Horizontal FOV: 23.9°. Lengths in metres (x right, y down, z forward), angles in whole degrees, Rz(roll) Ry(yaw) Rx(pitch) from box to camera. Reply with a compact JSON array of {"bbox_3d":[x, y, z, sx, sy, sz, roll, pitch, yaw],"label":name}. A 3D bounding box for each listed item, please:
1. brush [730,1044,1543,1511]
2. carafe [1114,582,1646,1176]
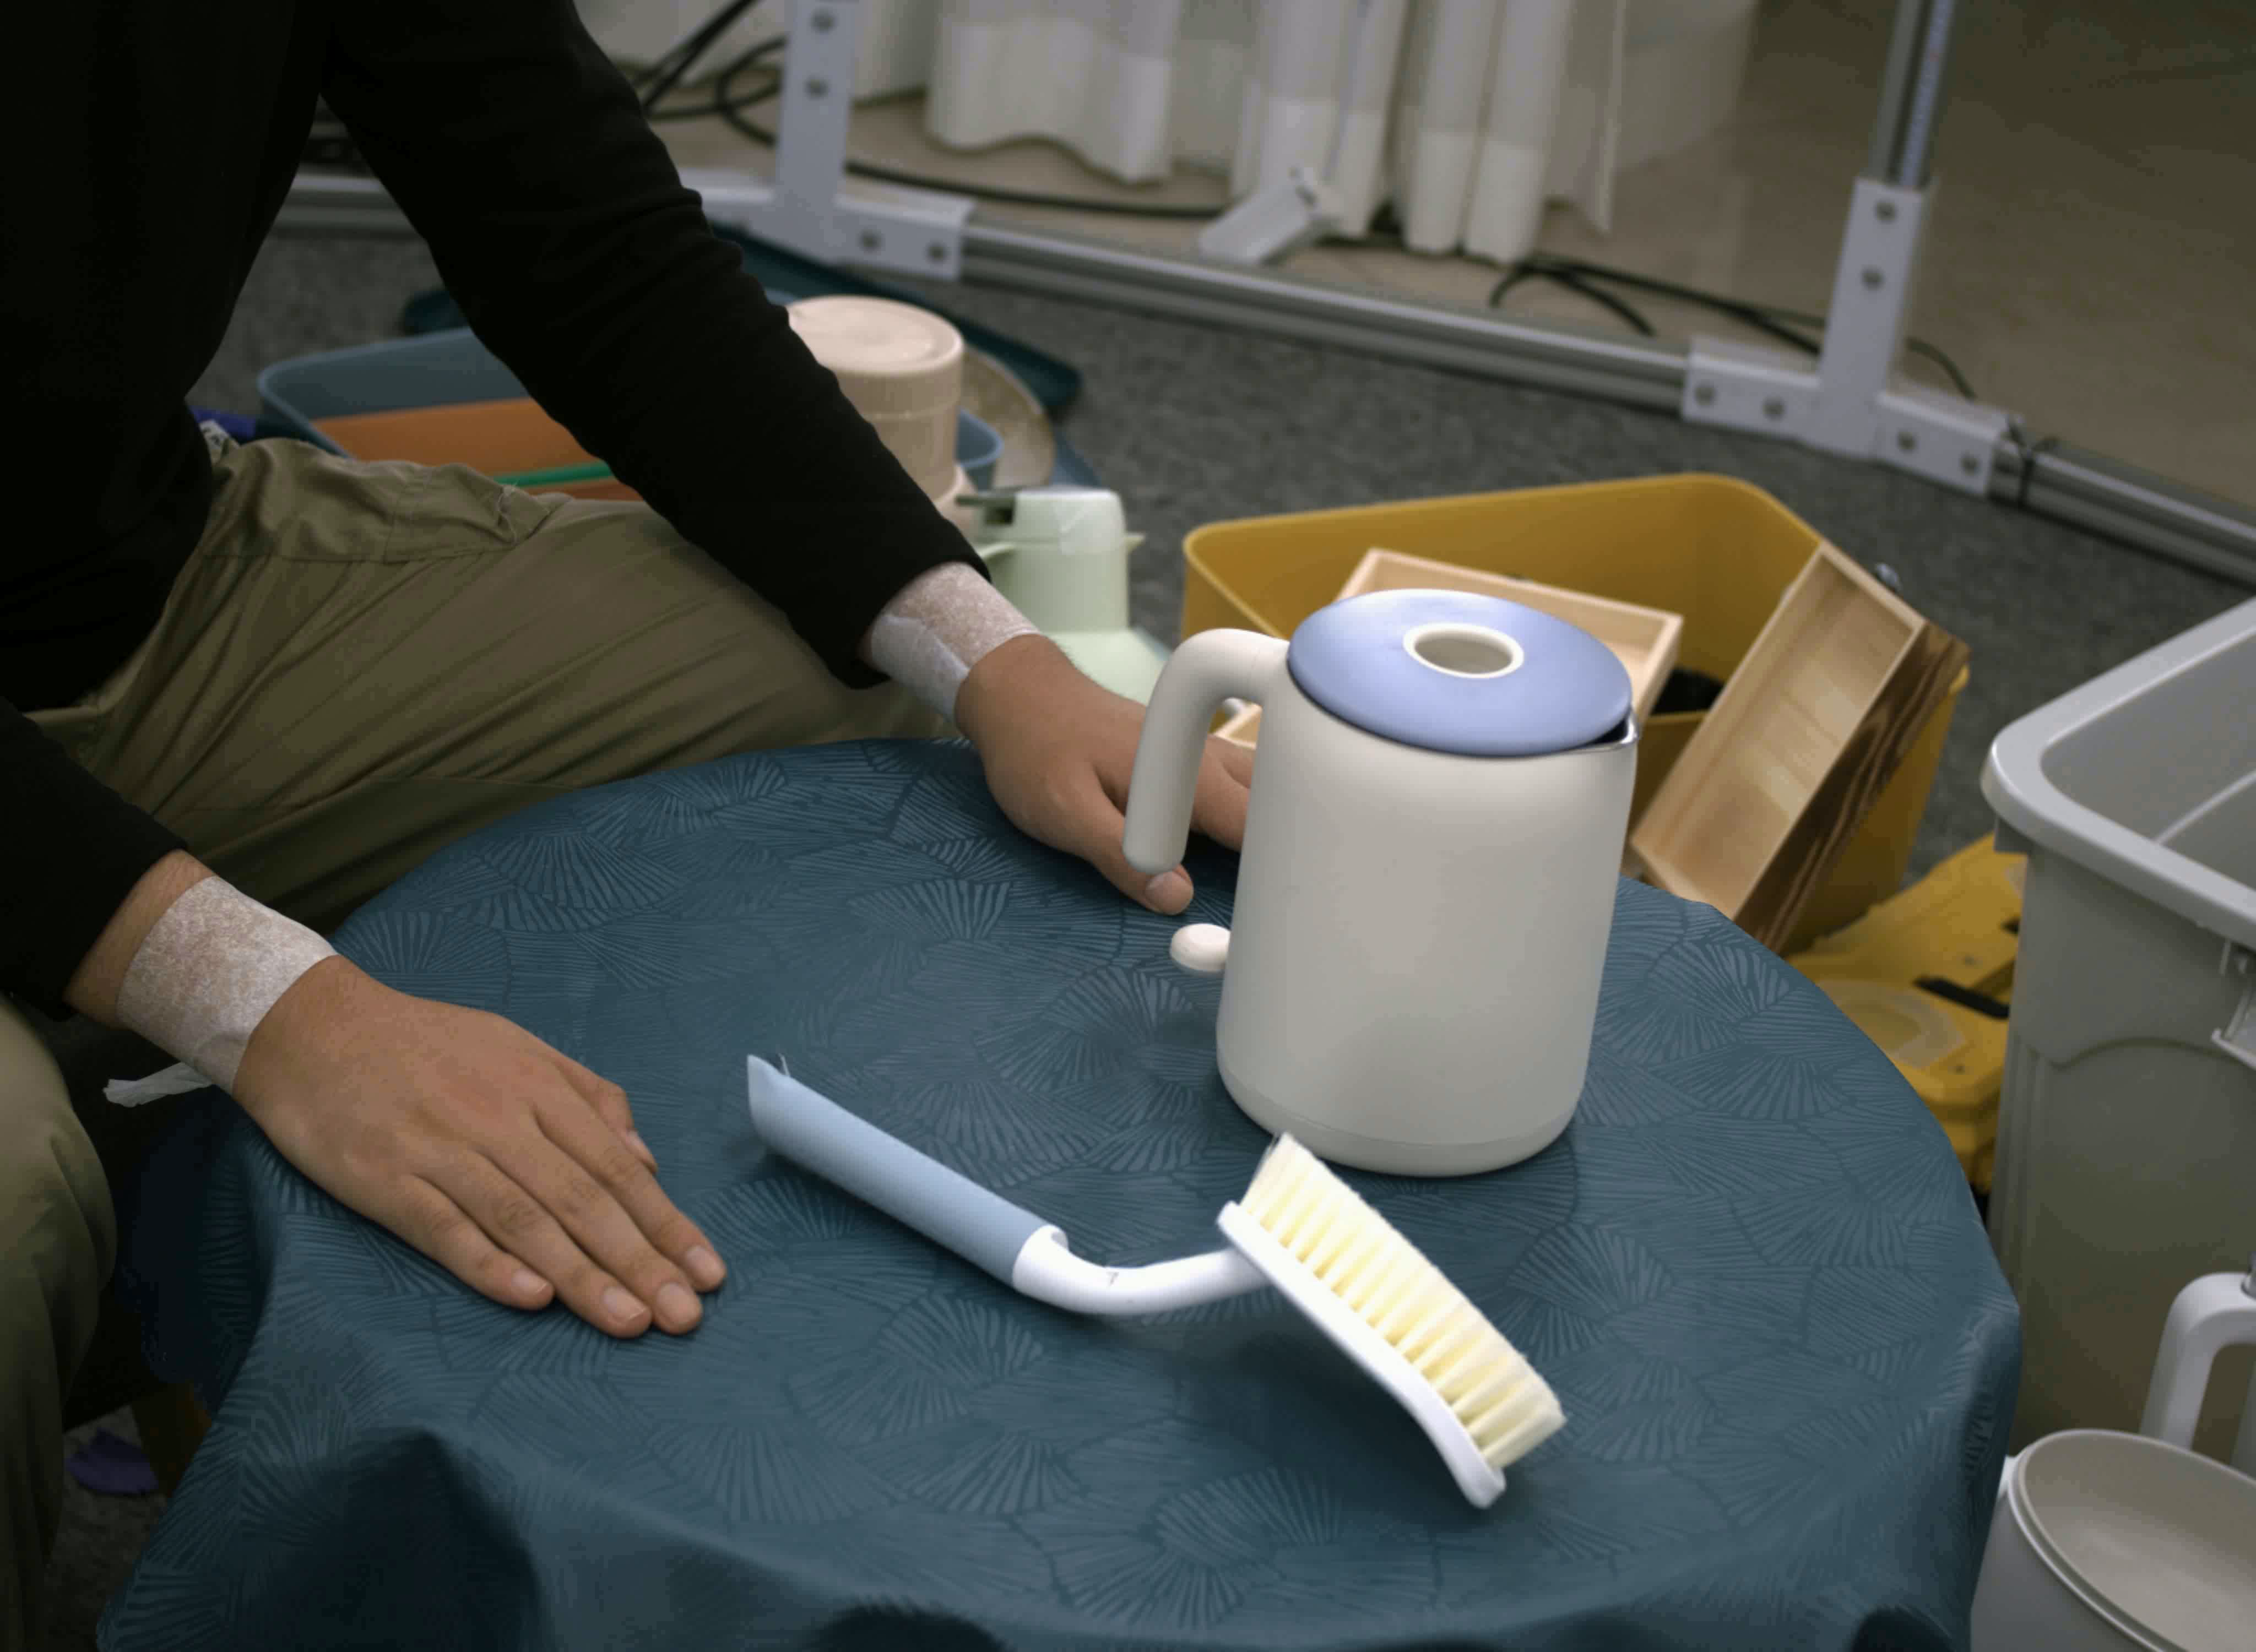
[{"bbox_3d":[0.004,0.116,1.728,0.327,0.083,0.084,27,39,33],"label":"brush"},{"bbox_3d":[0.082,0.010,1.853,0.192,0.182,0.132,19,28,25],"label":"carafe"}]
